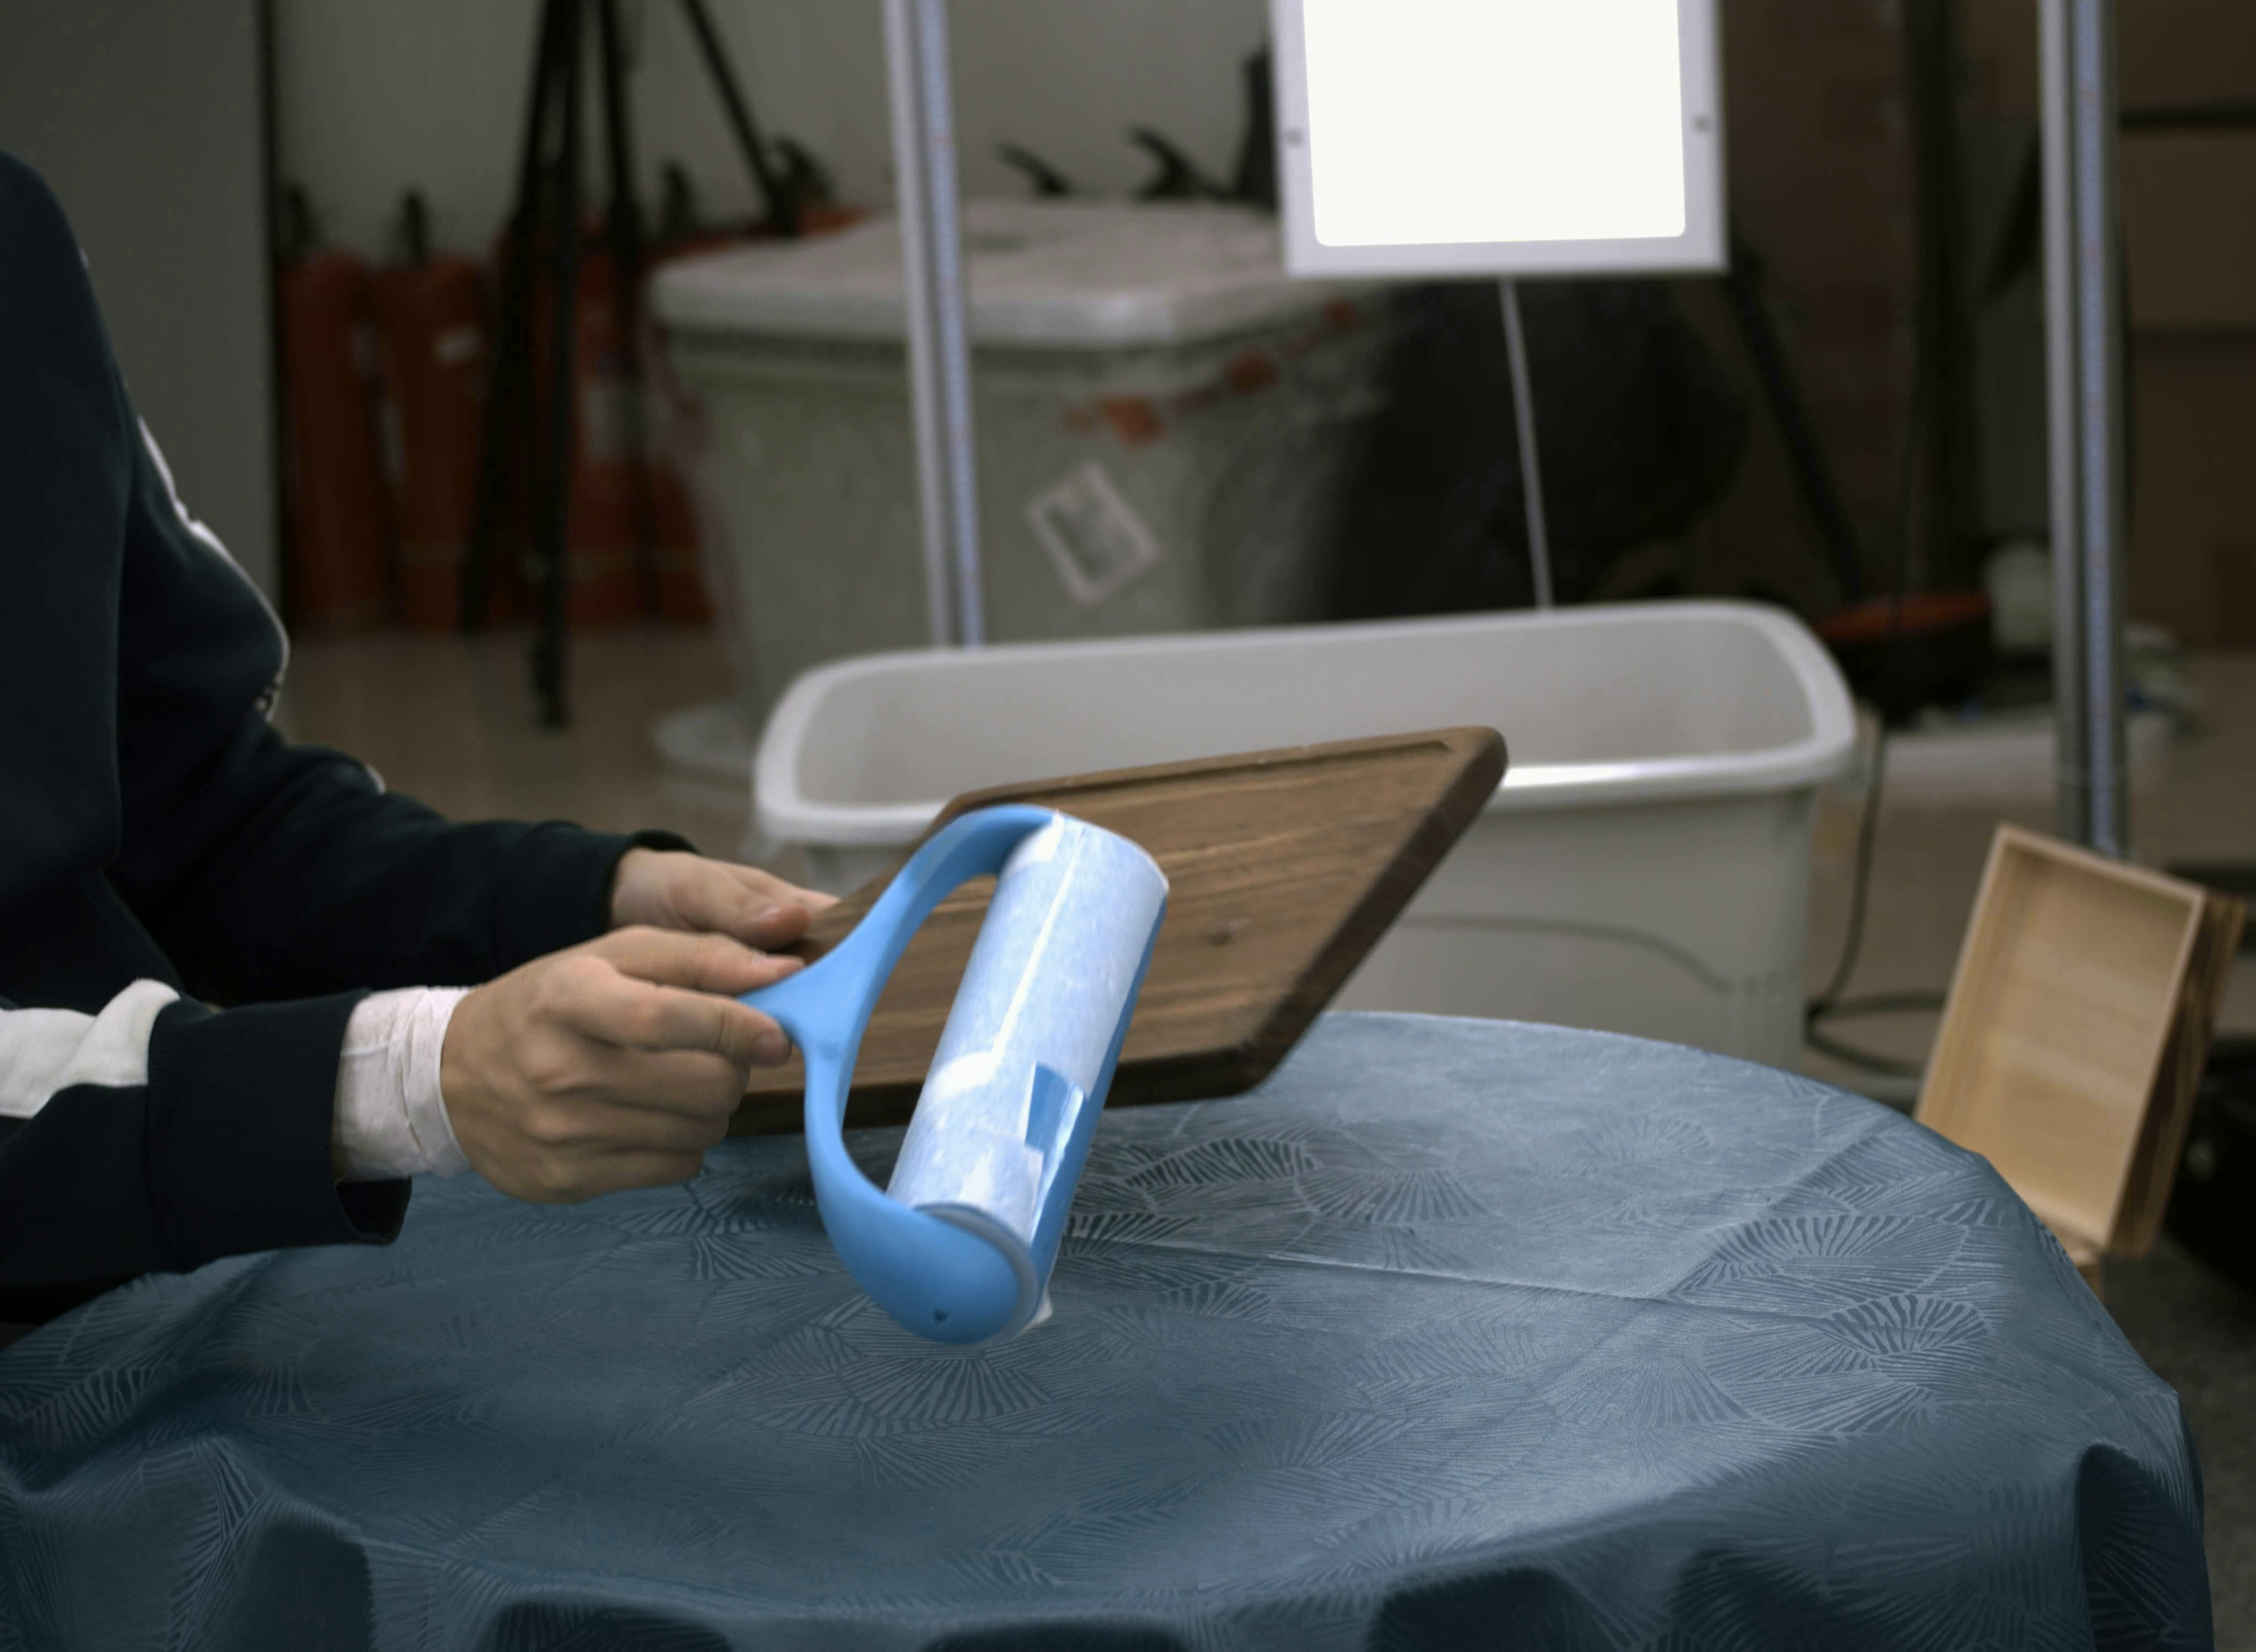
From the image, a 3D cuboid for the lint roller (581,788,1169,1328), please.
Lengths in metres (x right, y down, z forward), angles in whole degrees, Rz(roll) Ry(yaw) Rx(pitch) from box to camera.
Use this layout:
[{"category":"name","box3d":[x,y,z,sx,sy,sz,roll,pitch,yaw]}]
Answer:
[{"category":"lint roller","box3d":[-0.087,0.072,1.679,0.182,0.068,0.227,-4,36,13]}]

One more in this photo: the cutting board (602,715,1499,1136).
[{"category":"cutting board","box3d":[-0.052,0.040,1.937,0.360,0.023,0.197,-9,28,40]}]
